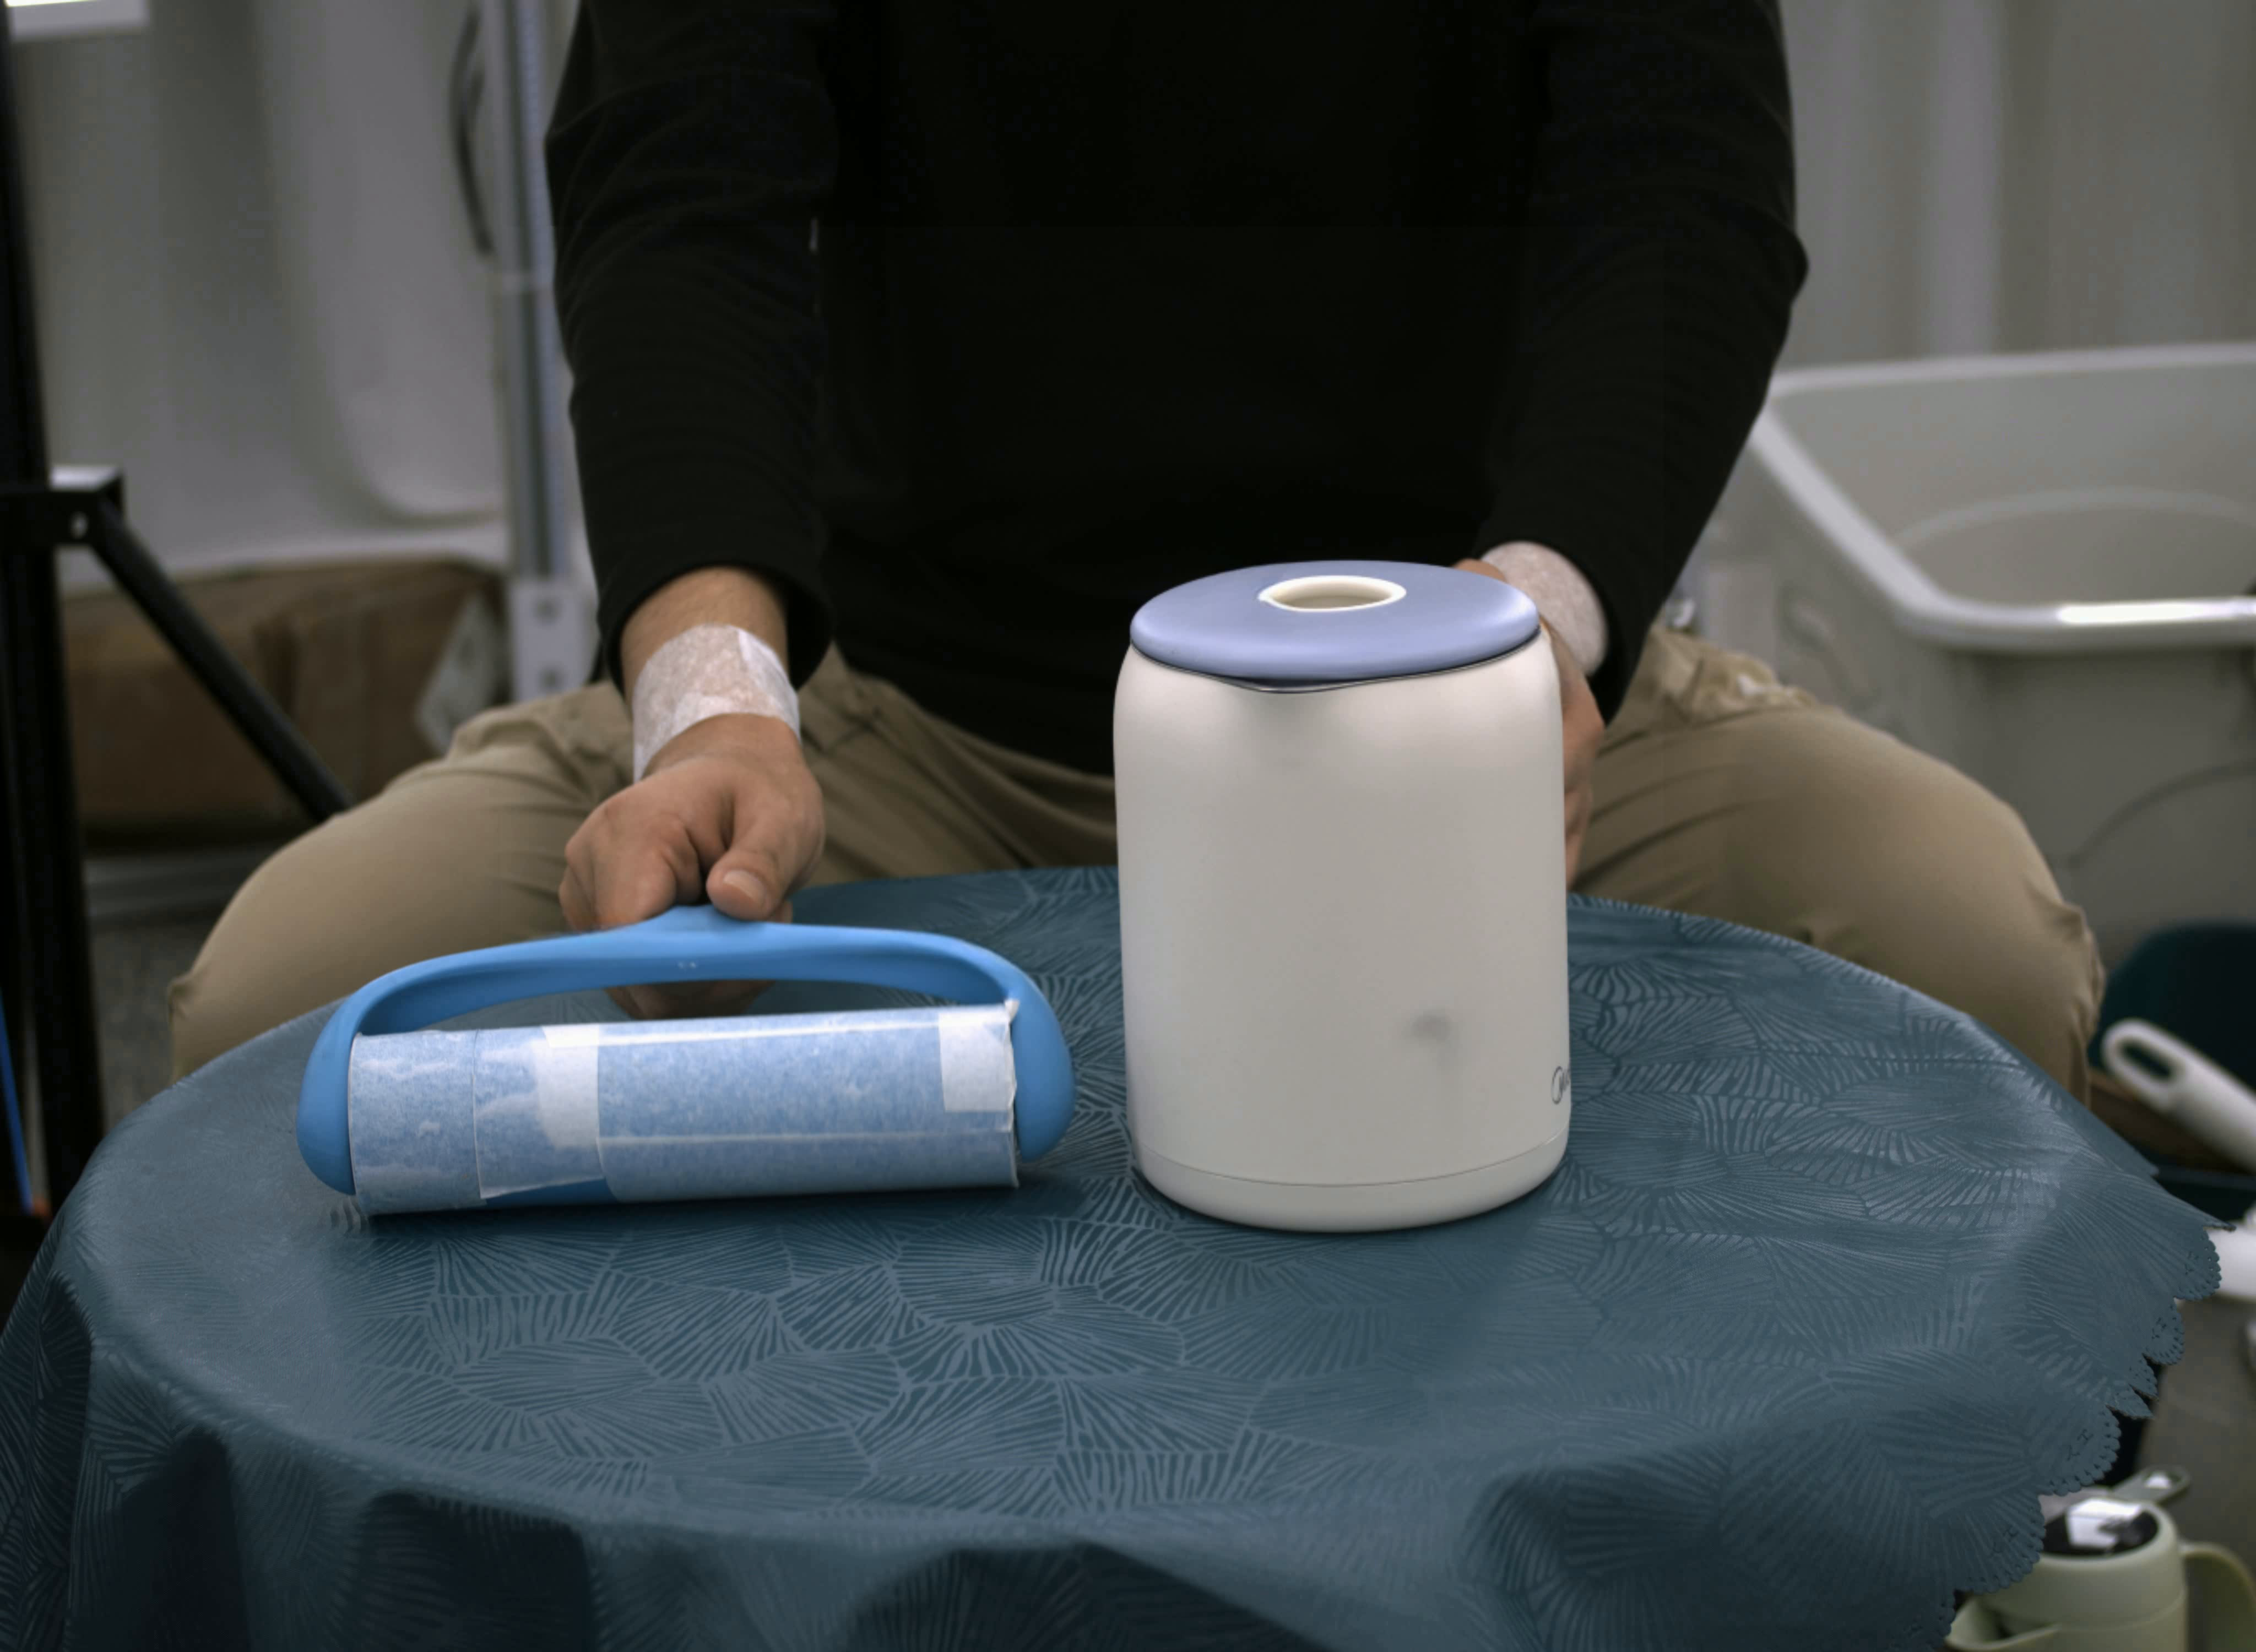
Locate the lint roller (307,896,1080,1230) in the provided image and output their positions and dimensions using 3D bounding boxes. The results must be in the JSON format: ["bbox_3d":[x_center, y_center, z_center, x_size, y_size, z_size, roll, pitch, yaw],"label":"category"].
[{"bbox_3d":[-0.132,0.056,1.619,0.228,0.067,0.182,-6,29,1],"label":"lint roller"}]

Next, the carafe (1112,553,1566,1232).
[{"bbox_3d":[0.068,0.012,1.570,0.133,0.182,0.189,2,14,14],"label":"carafe"}]
